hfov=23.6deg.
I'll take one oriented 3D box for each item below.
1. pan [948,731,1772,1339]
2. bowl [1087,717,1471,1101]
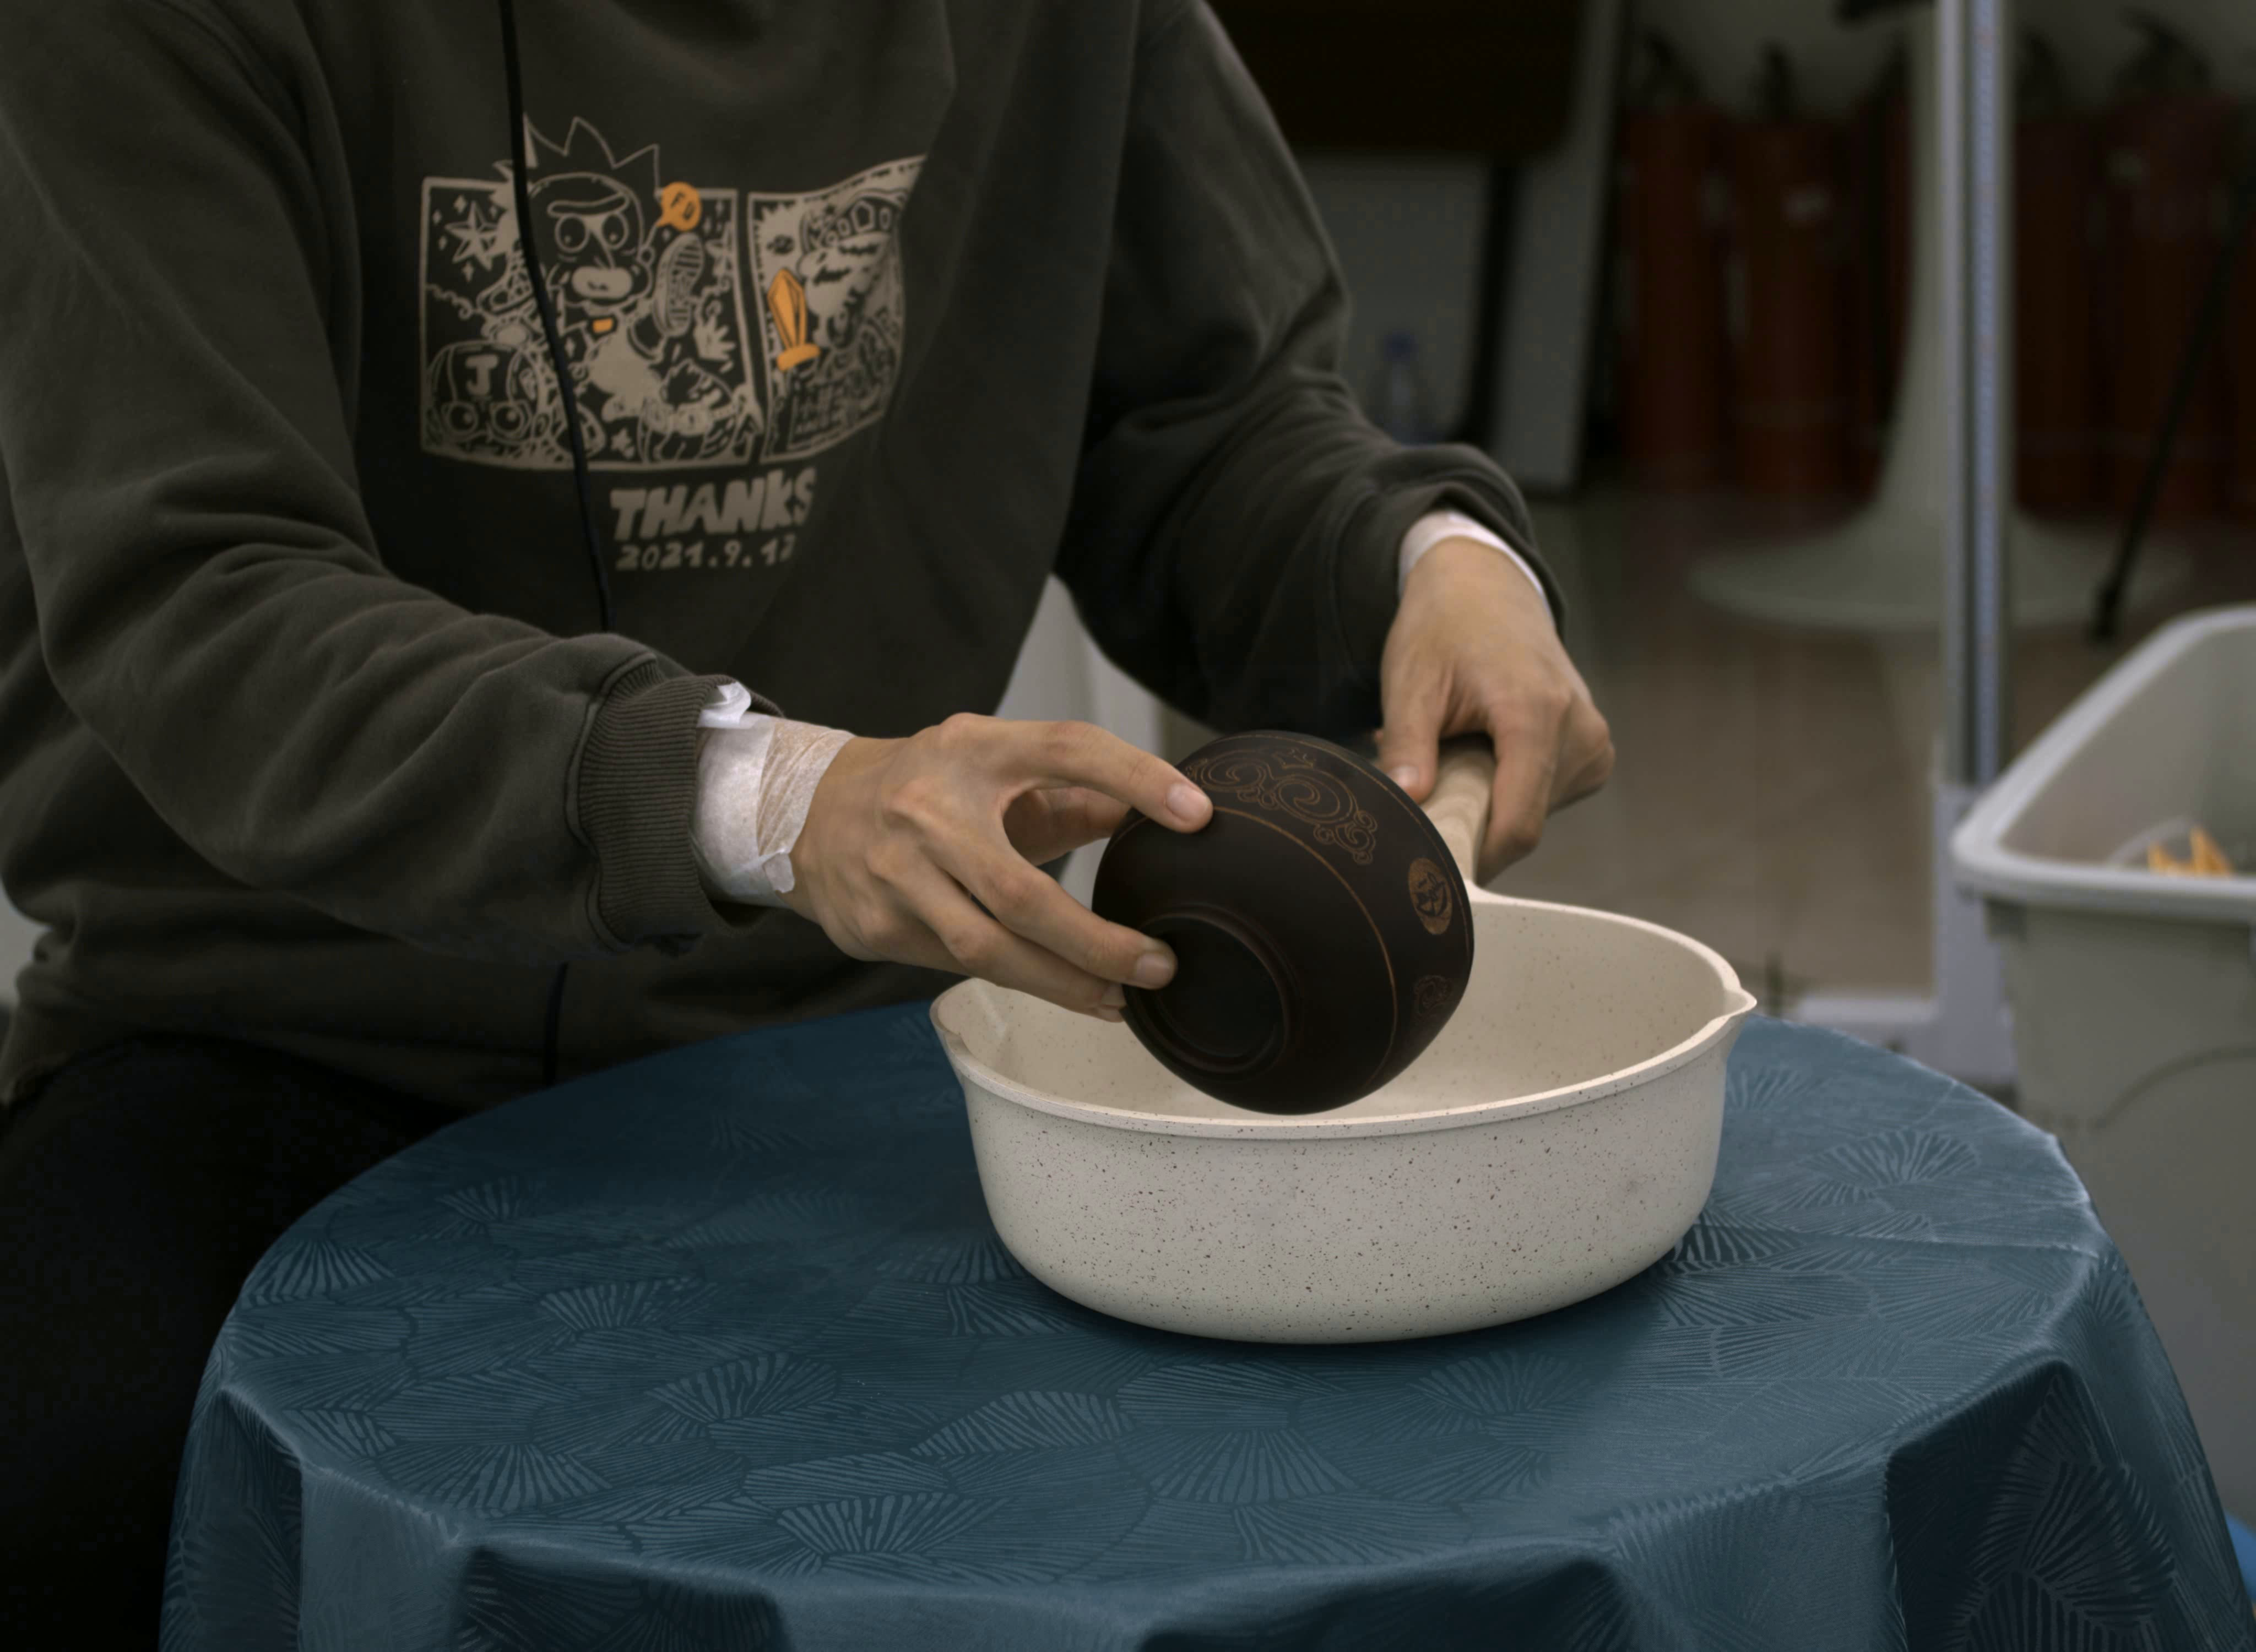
[{"bbox_3d":[0.092,0.065,1.776,0.262,0.103,0.432,-3,13,13],"label":"pan"},{"bbox_3d":[0.038,0.034,1.624,0.118,0.119,0.069,5,28,32],"label":"bowl"}]
